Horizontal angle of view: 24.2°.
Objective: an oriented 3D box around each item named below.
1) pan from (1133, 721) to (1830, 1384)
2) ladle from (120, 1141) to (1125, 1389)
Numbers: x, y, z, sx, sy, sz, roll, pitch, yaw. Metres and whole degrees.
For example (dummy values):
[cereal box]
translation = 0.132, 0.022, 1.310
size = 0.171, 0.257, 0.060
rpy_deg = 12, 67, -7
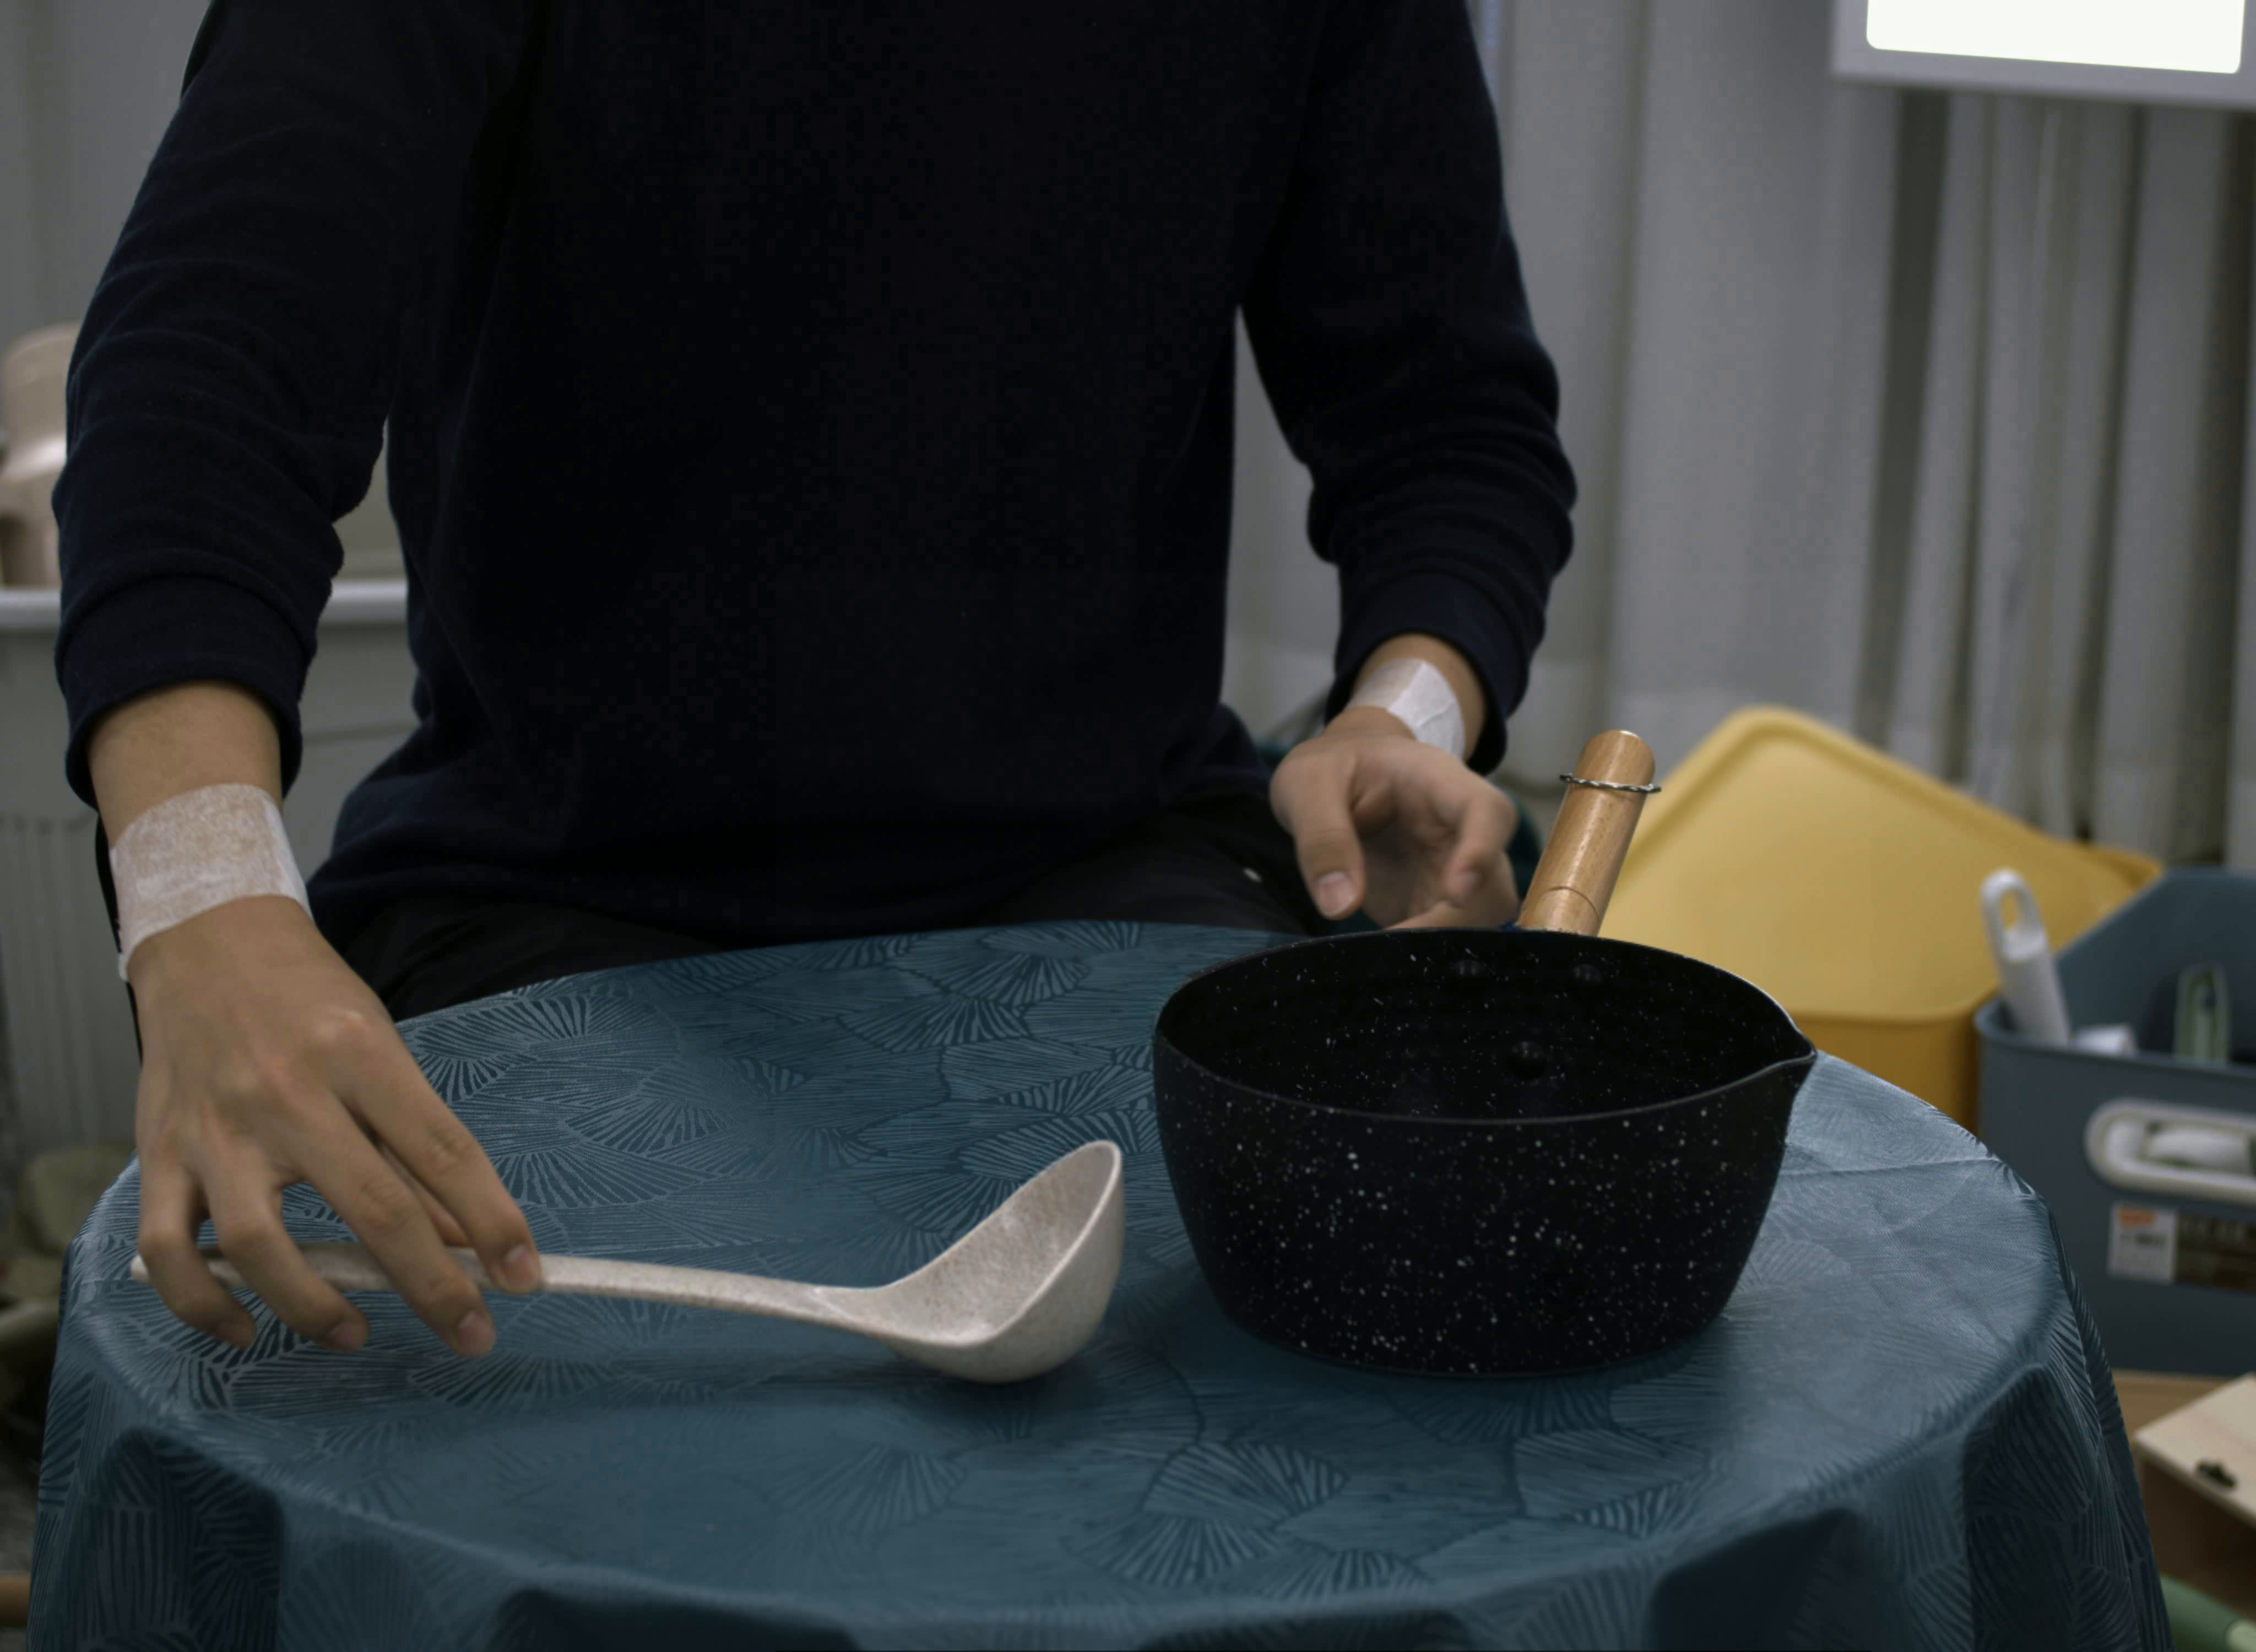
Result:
[pan]
translation = 0.118, 0.063, 1.600
size = 0.206, 0.109, 0.342
rpy_deg = 3, 17, 13
[ladle]
translation = -0.138, 0.109, 1.454
size = 0.274, 0.070, 0.088
rpy_deg = 7, 24, -6
